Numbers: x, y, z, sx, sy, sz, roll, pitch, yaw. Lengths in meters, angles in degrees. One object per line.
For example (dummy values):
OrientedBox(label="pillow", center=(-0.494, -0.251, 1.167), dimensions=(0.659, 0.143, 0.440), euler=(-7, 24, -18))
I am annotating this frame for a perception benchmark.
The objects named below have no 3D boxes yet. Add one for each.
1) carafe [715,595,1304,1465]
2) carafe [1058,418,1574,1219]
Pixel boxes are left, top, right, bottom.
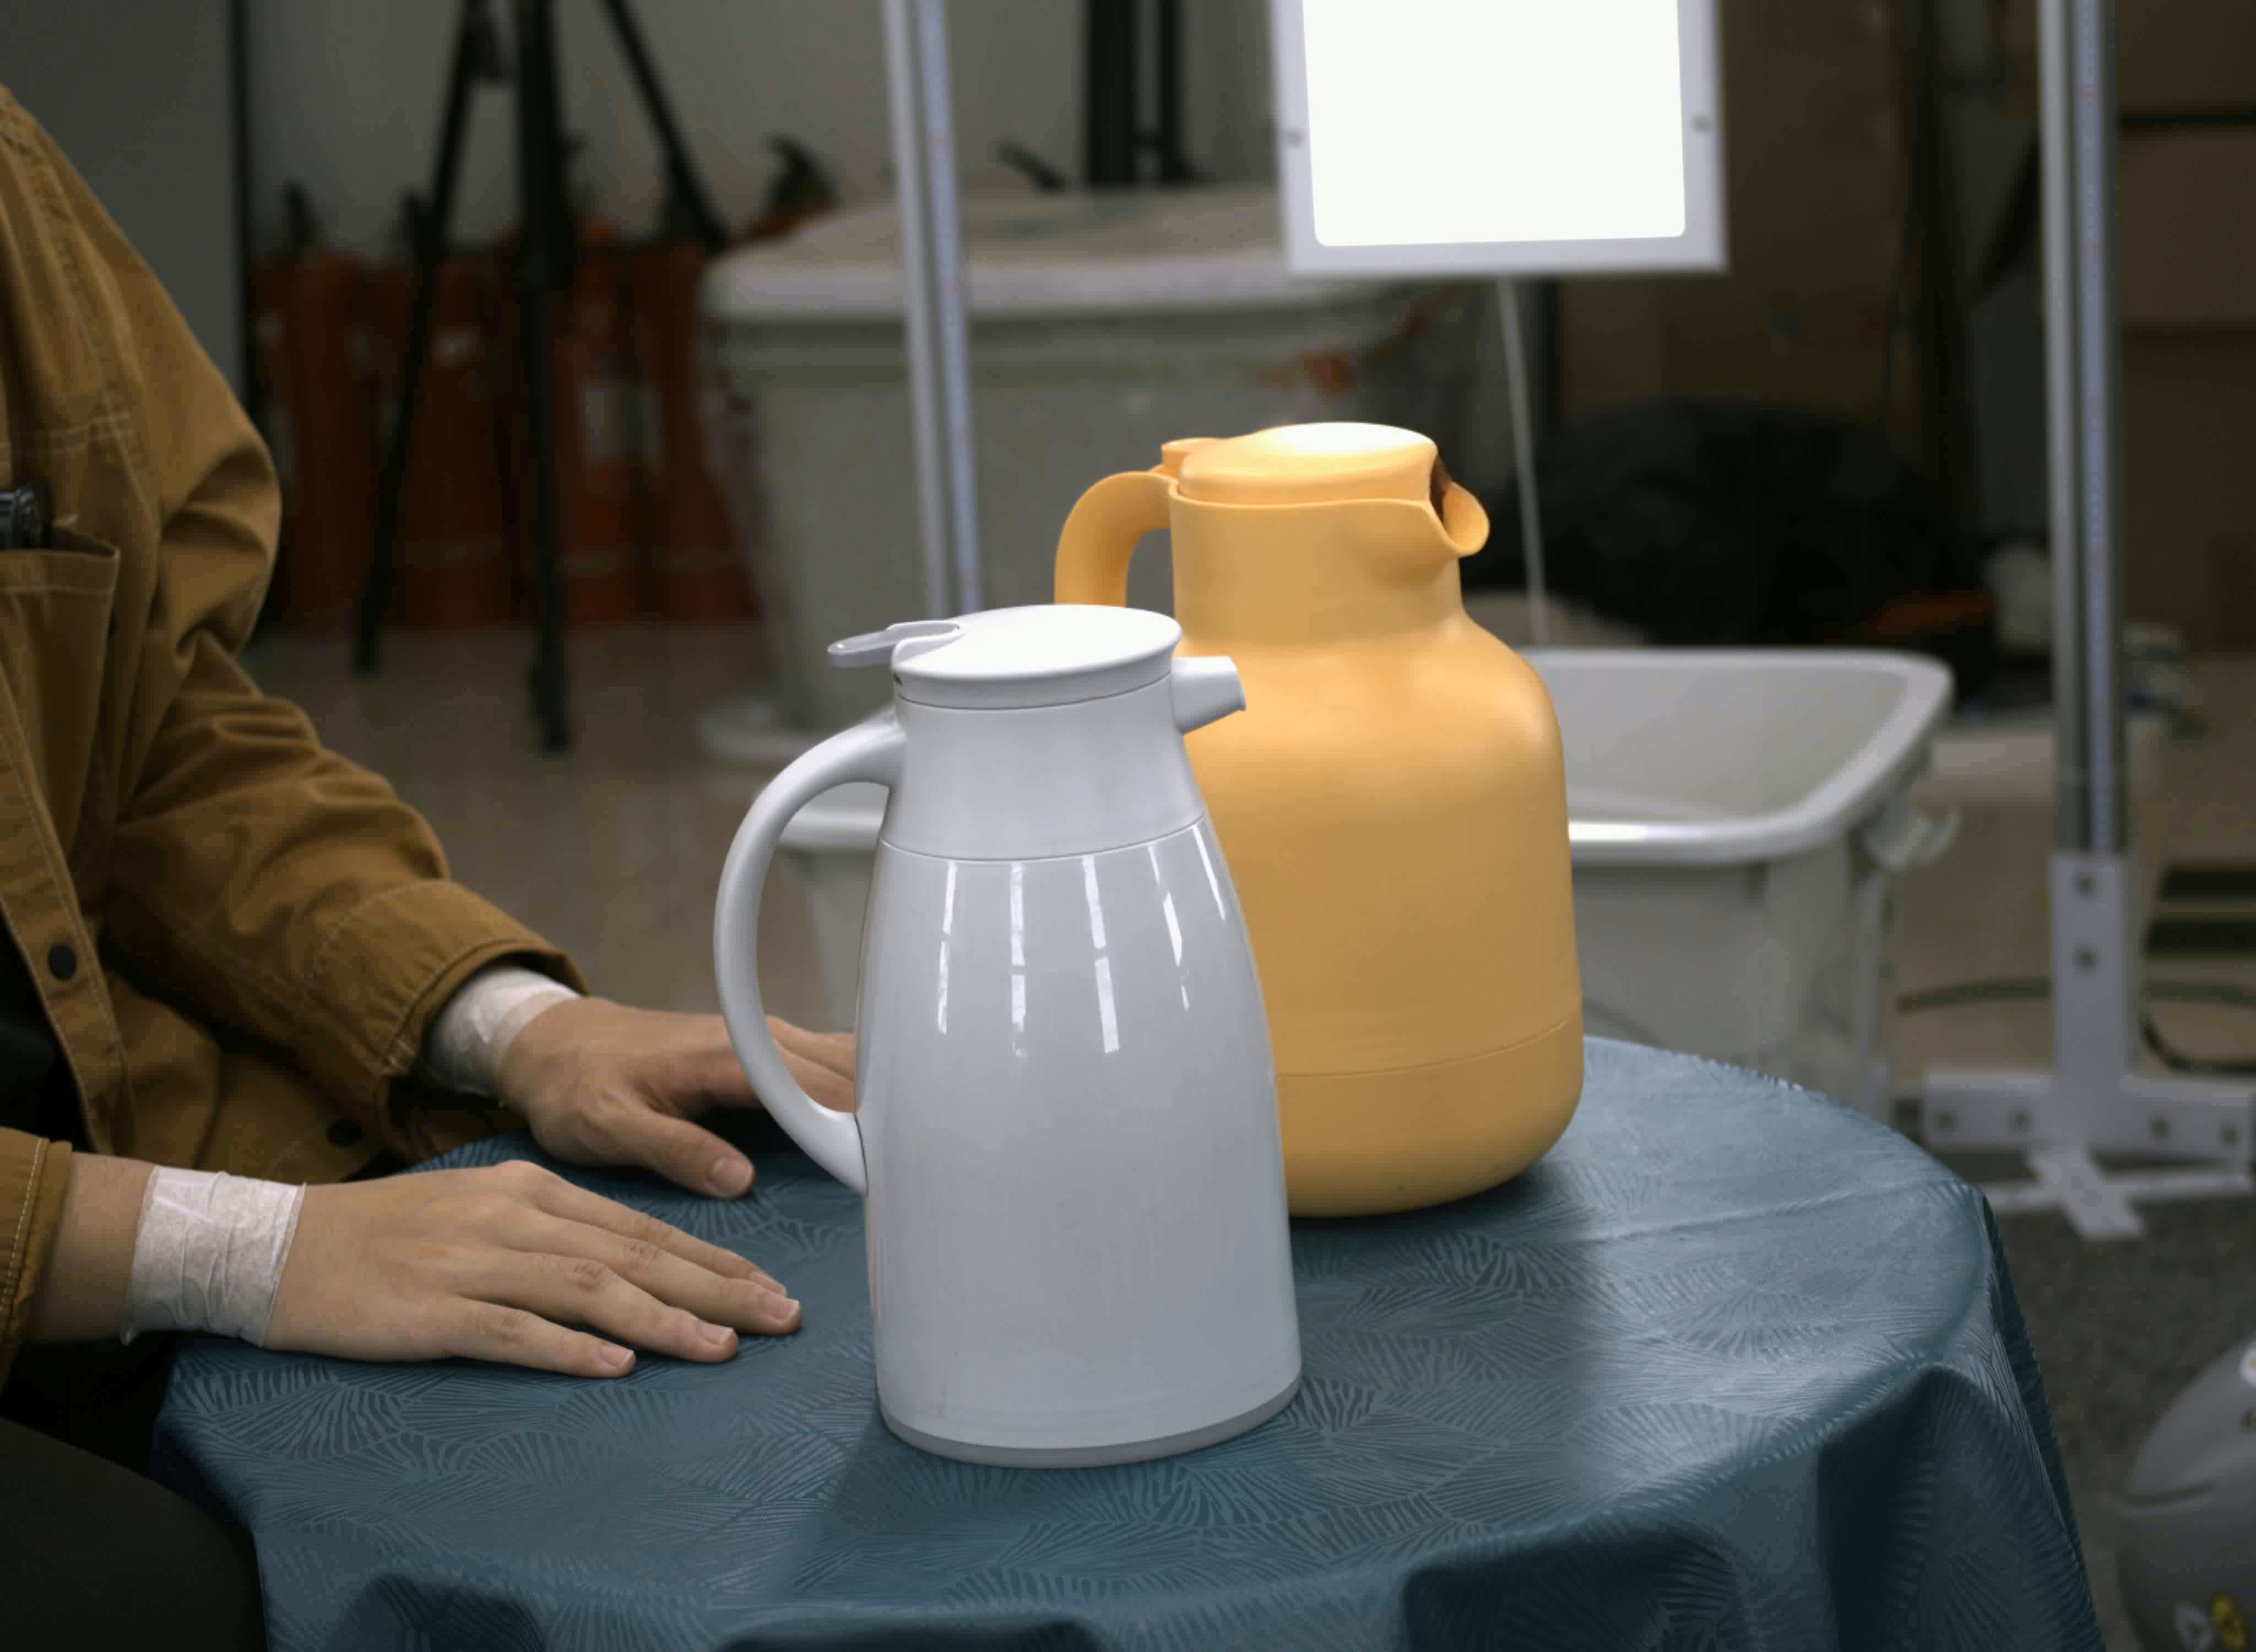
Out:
OrientedBox(label="carafe", center=(-0.039, 0.057, 1.670), dimensions=(0.167, 0.249, 0.133), euler=(-7, 14, -4))
OrientedBox(label="carafe", center=(0.056, -0.010, 1.884), dimensions=(0.159, 0.261, 0.206), euler=(-14, 18, -38))
